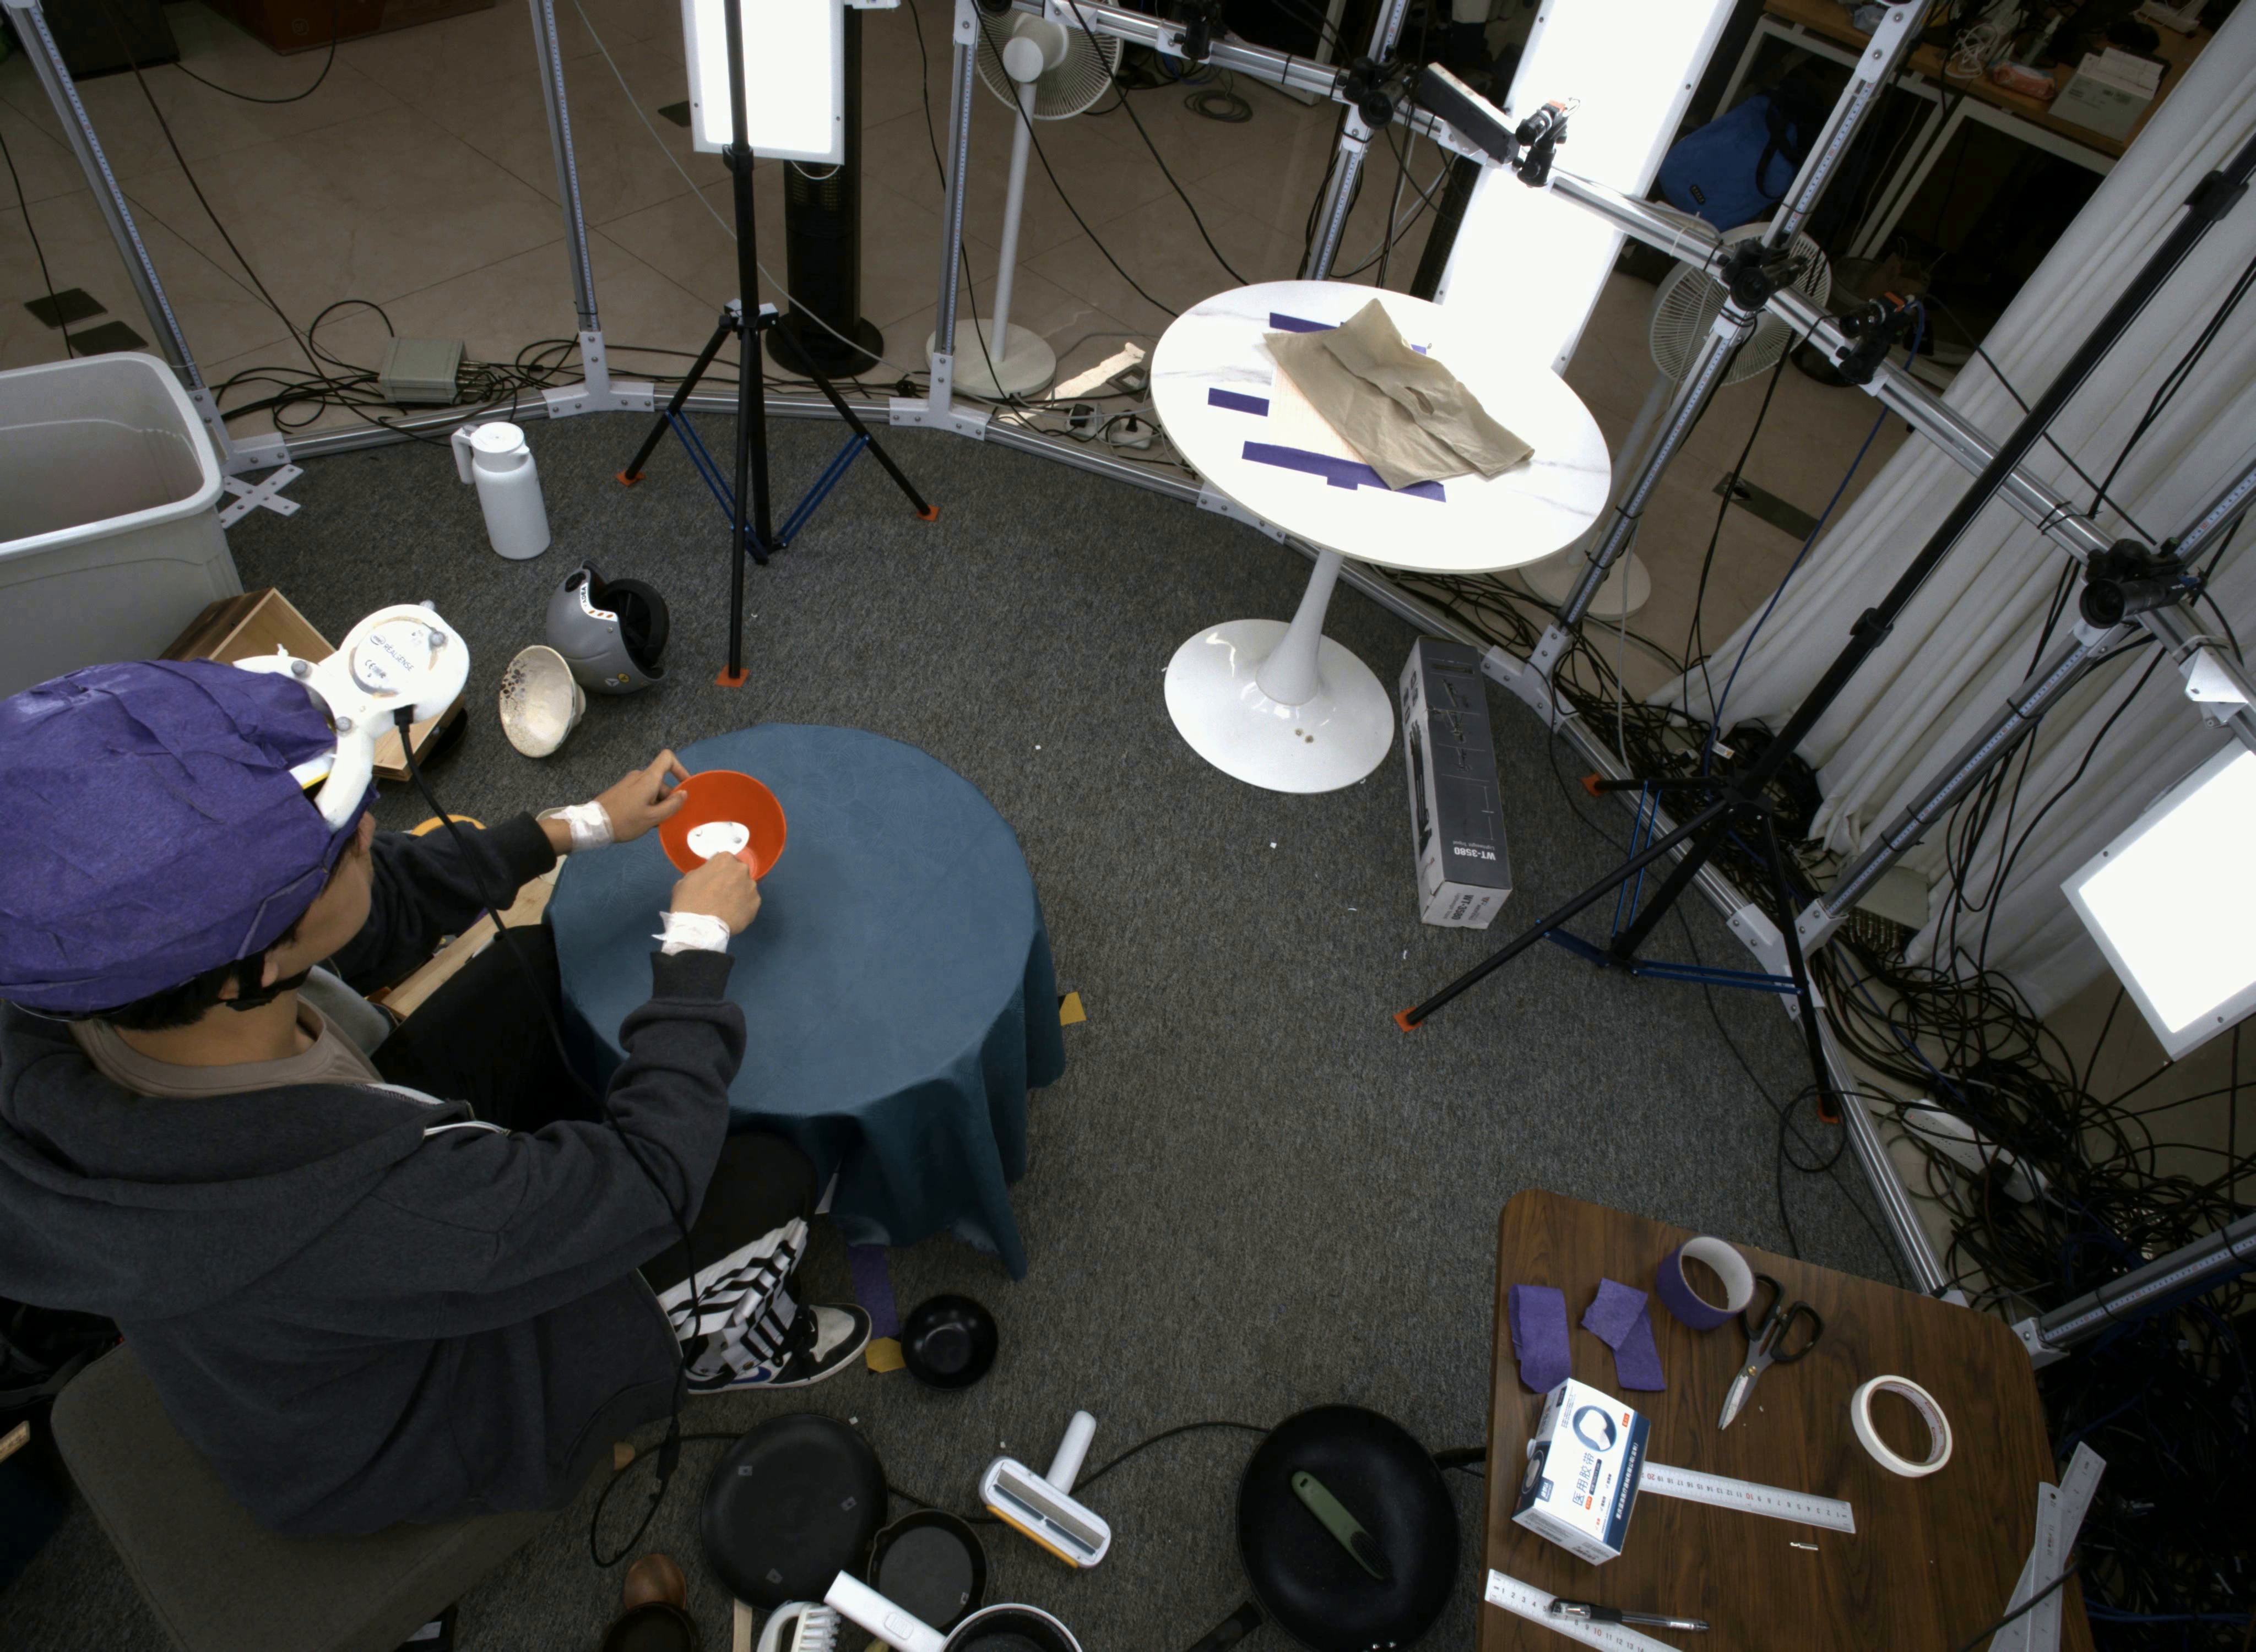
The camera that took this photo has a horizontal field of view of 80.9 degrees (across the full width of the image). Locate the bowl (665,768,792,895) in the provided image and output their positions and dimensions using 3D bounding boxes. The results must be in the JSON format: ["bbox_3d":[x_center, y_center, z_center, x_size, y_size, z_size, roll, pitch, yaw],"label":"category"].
[{"bbox_3d":[-0.484,0.018,1.573,0.148,0.105,0.146,8,61,-13],"label":"bowl"}]

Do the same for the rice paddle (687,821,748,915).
[{"bbox_3d":[-0.452,0.034,1.424,0.069,0.030,0.199,-3,27,-17],"label":"rice paddle"}]
